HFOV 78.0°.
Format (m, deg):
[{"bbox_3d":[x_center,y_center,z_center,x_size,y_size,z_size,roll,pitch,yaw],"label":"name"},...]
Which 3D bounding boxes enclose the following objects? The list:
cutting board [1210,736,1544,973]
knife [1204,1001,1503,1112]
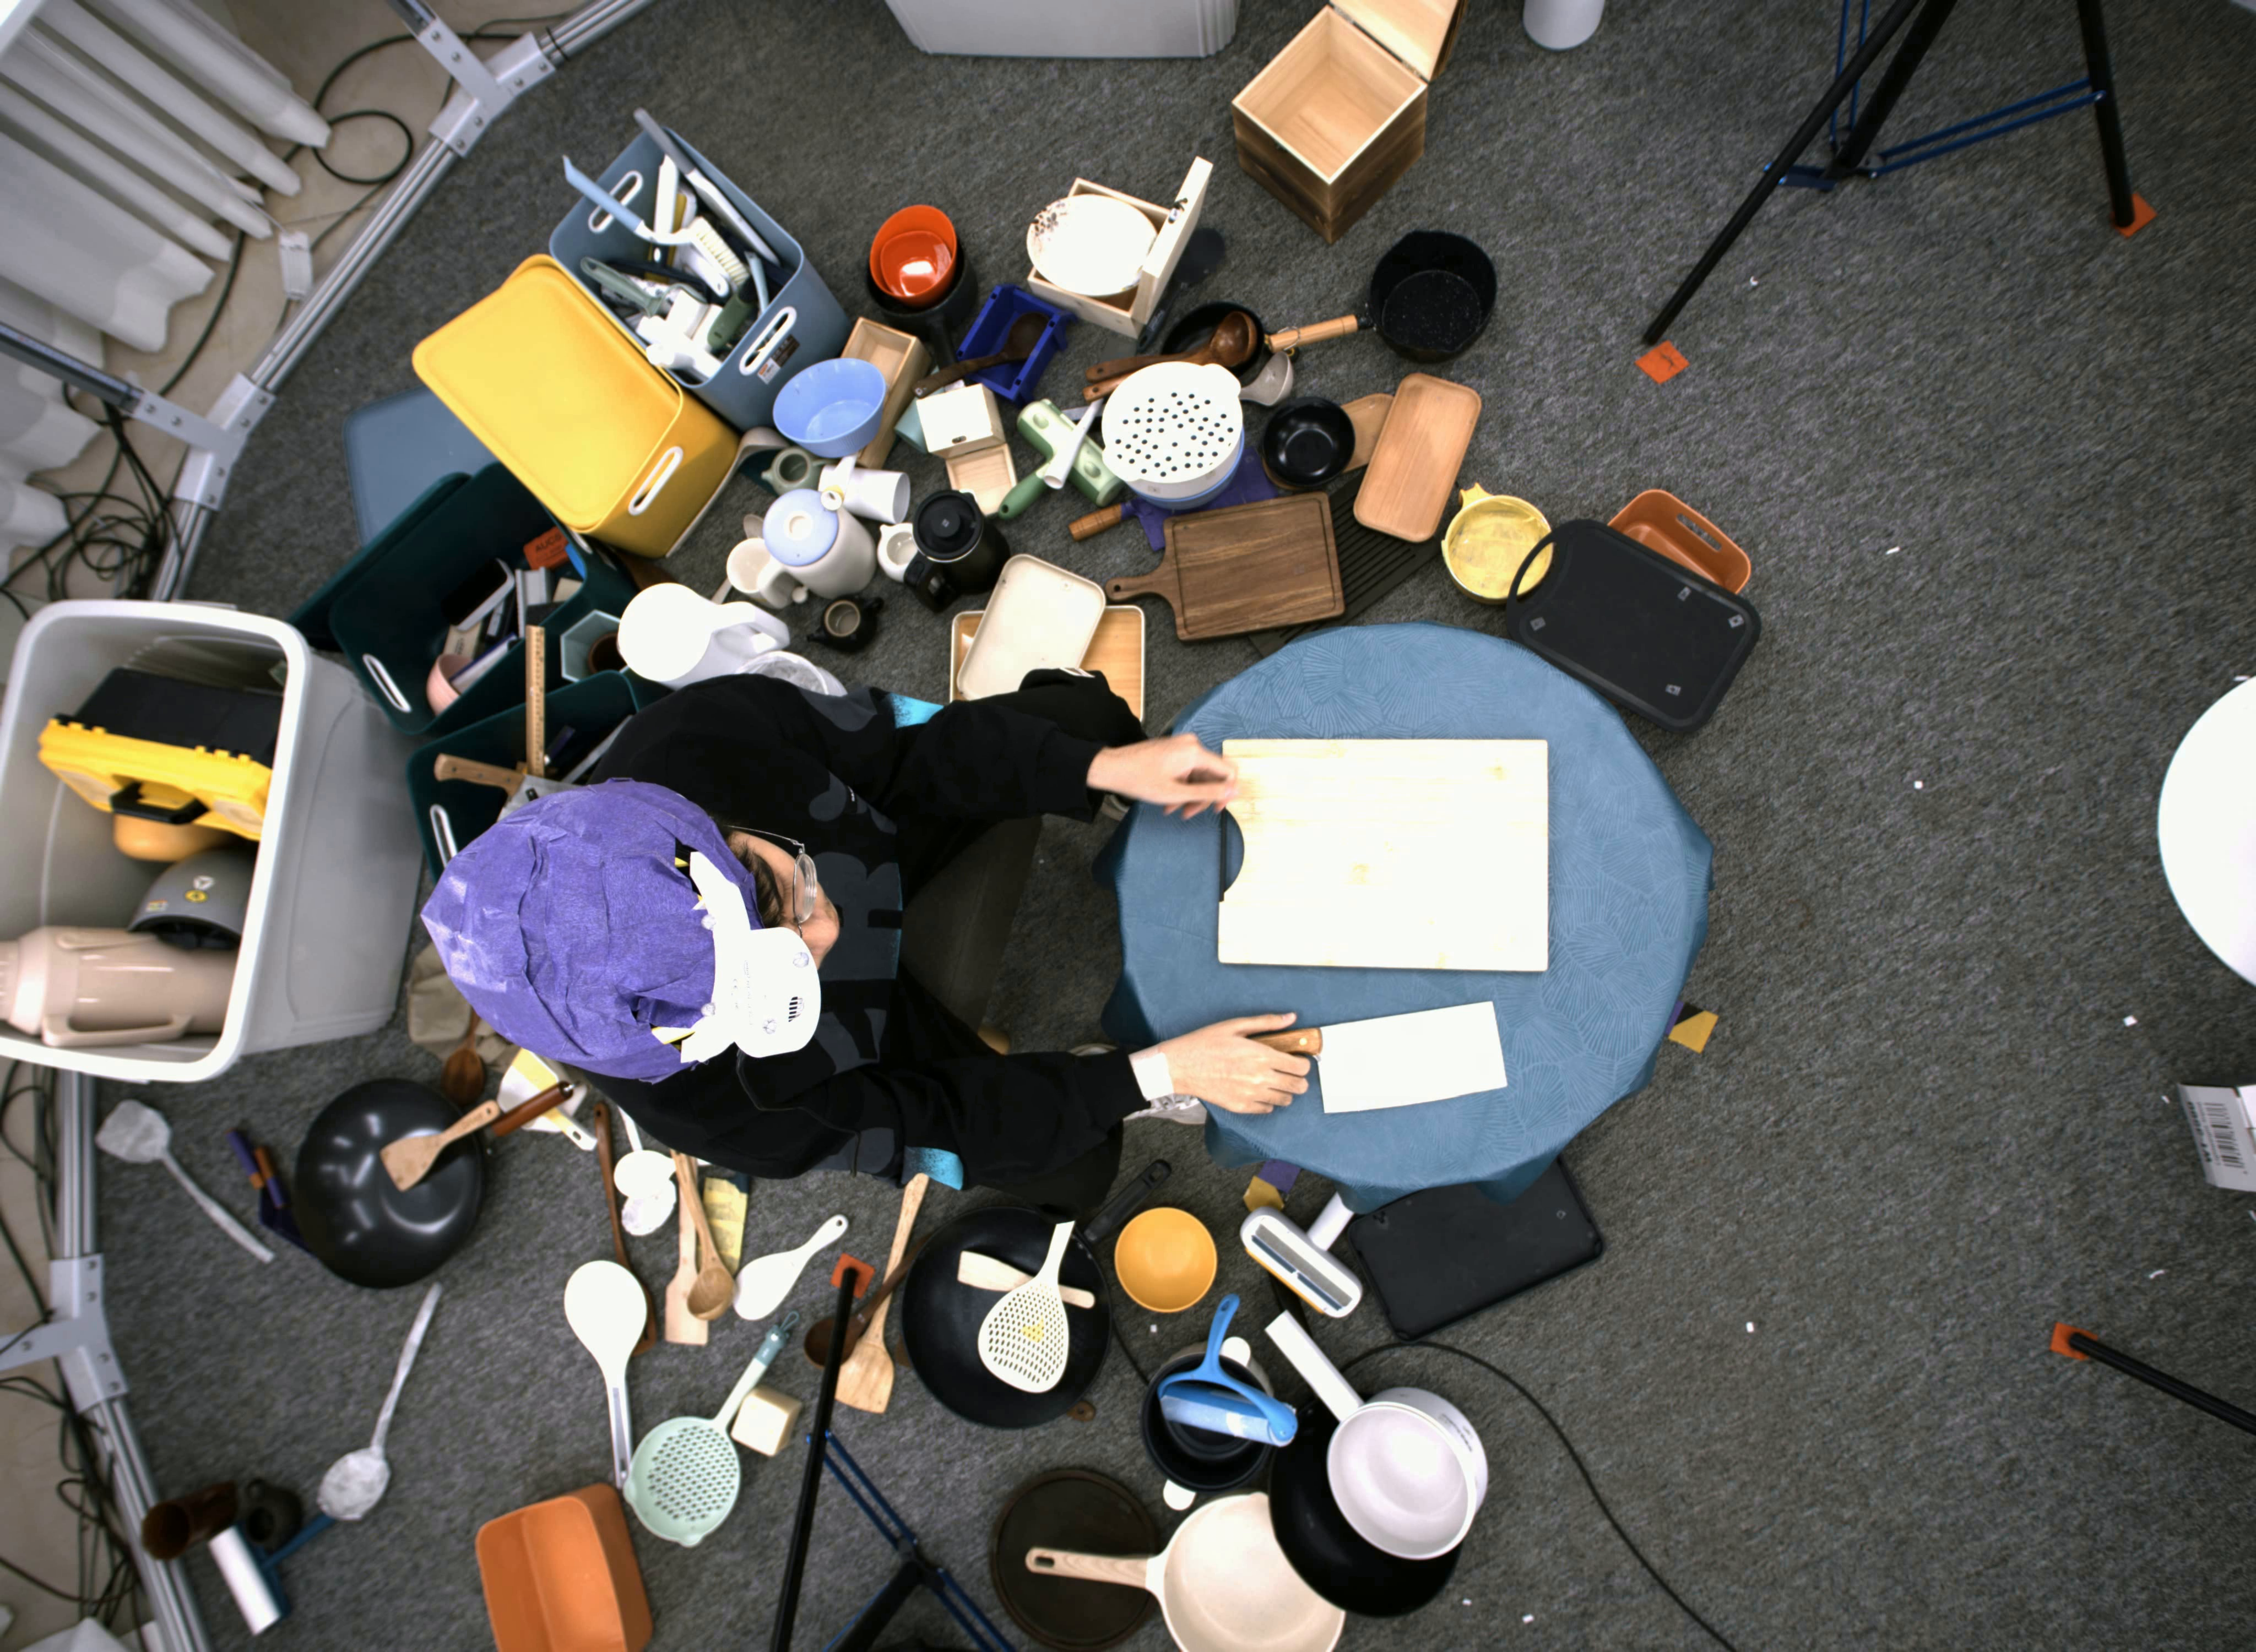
[{"bbox_3d":[0.261,0.026,1.456,0.350,0.023,0.249,0,87,10],"label":"cutting board"},{"bbox_3d":[0.236,0.247,1.449,0.307,0.021,0.092,-10,87,7],"label":"knife"}]
